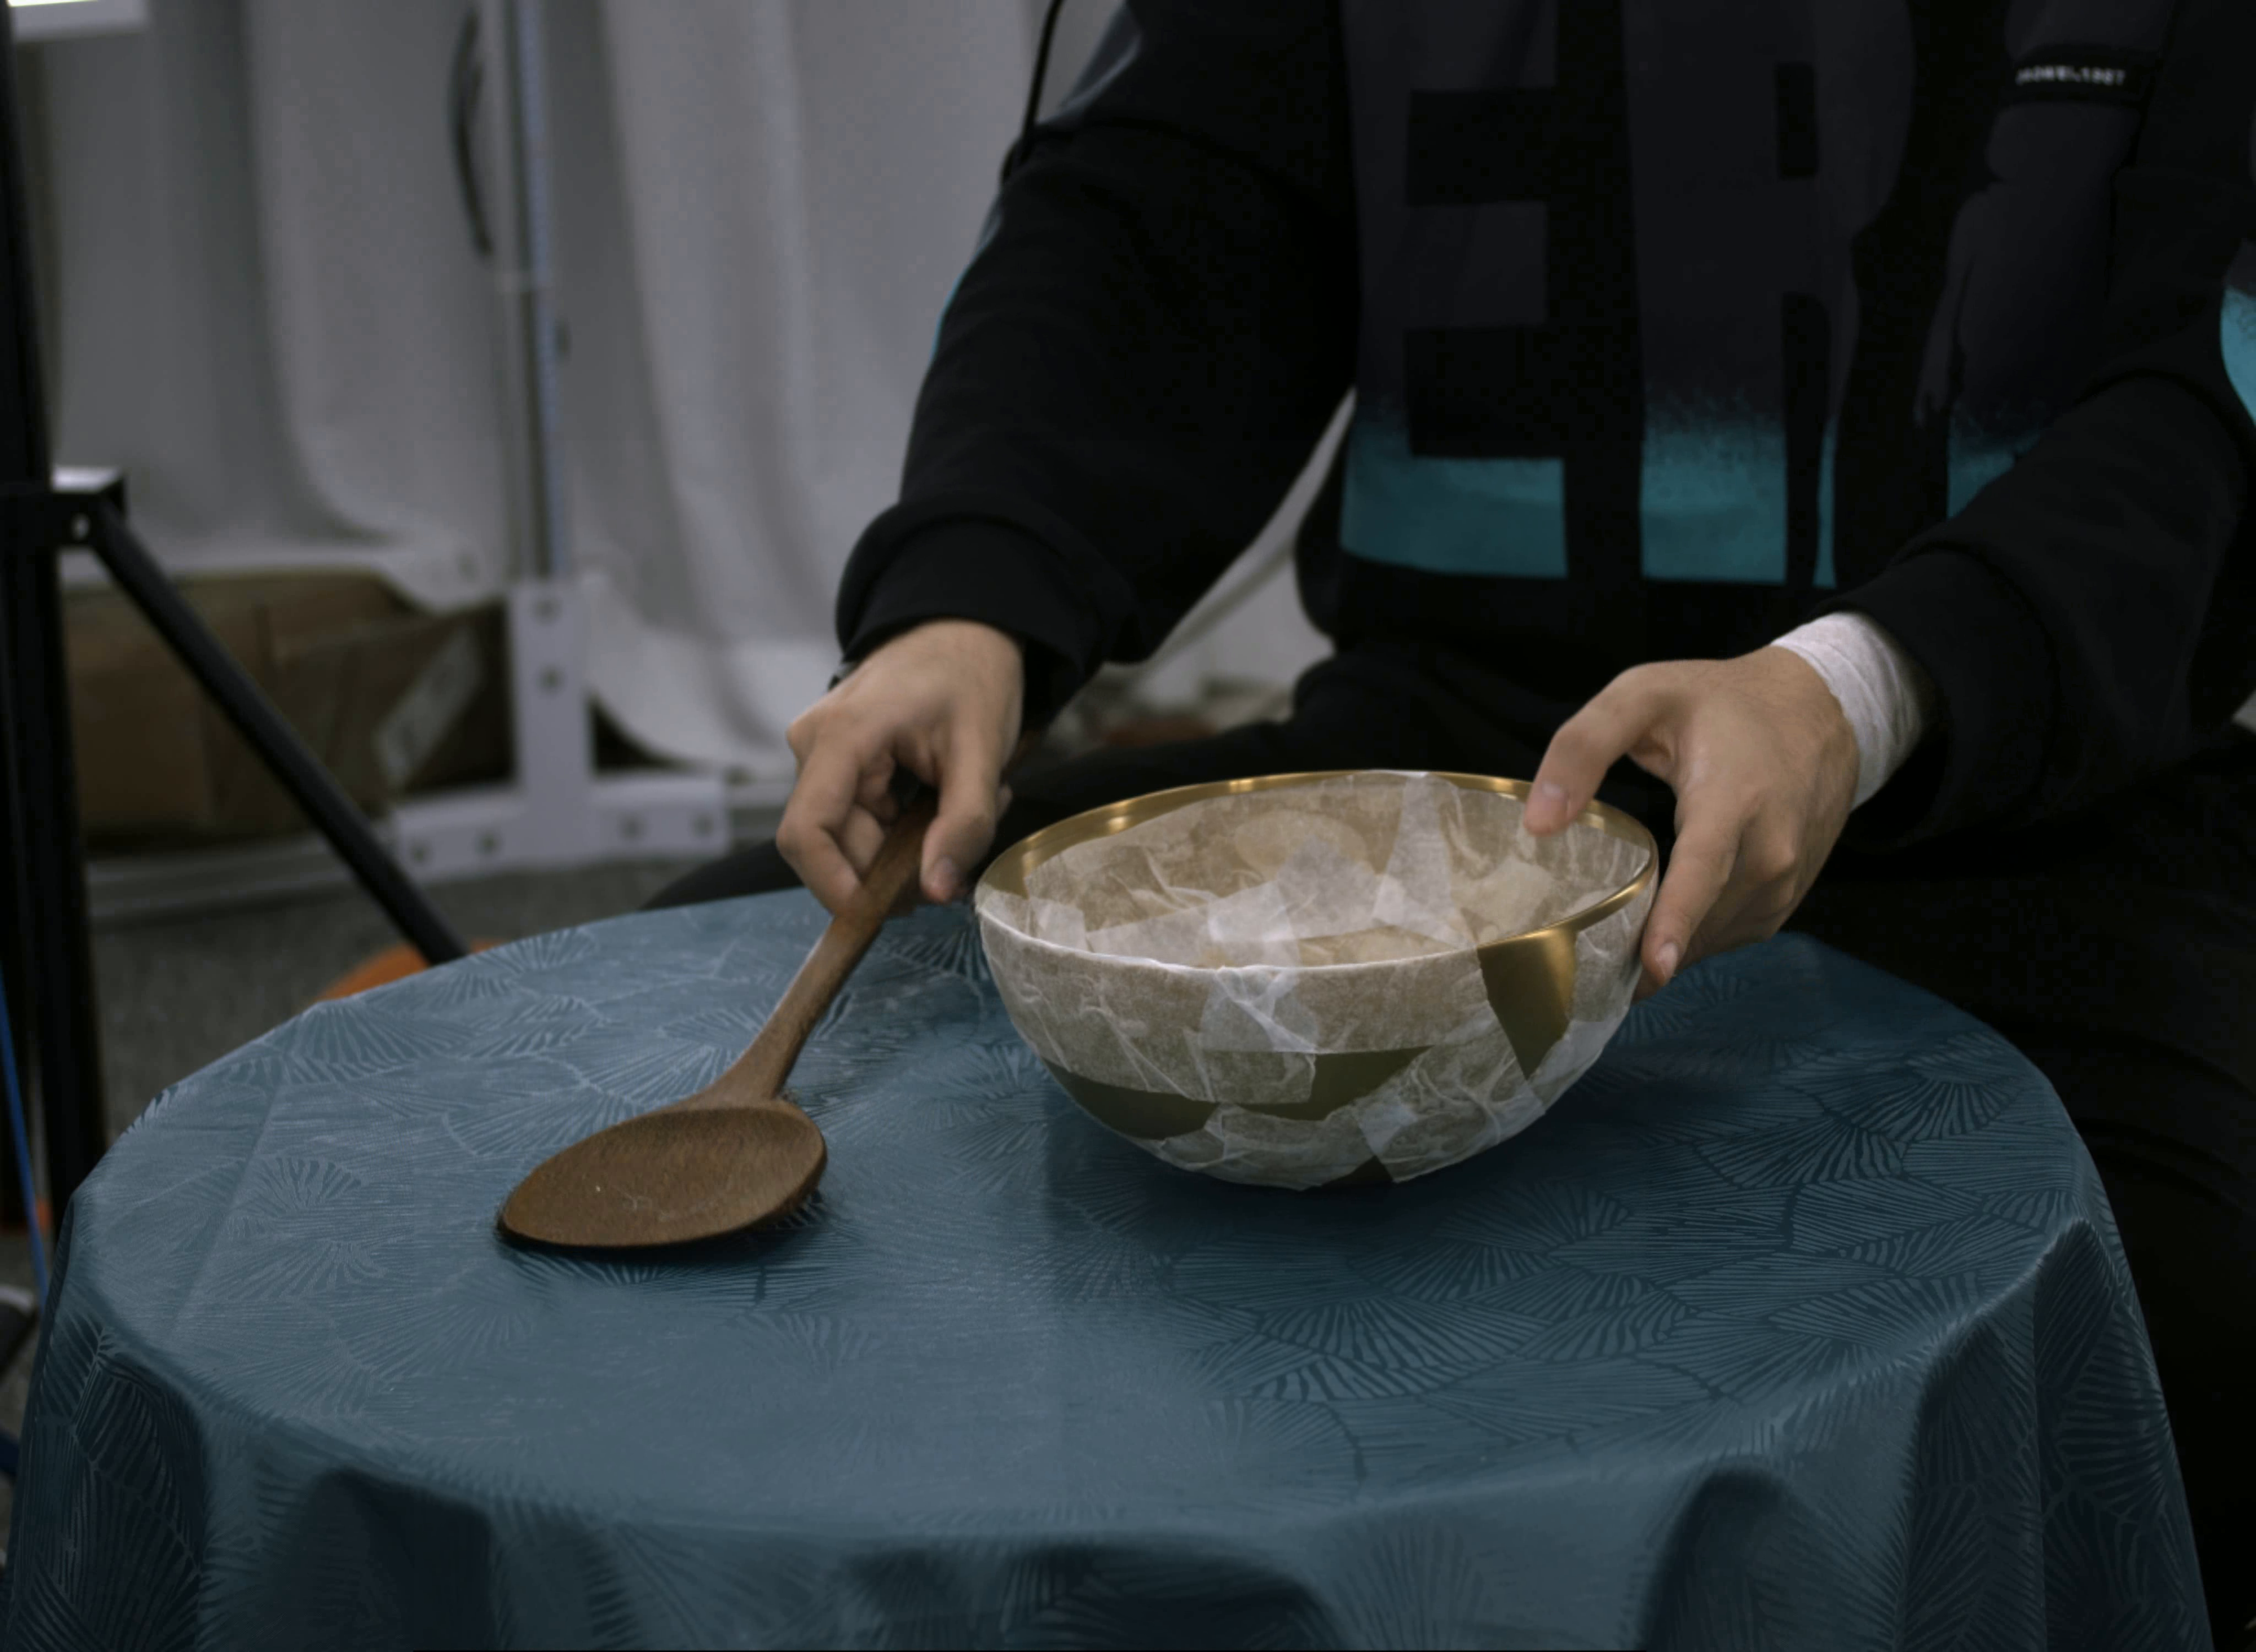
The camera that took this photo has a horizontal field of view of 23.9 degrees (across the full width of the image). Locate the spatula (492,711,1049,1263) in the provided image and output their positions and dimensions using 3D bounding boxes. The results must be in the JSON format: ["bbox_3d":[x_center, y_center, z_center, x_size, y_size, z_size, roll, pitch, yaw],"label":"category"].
[{"bbox_3d":[-0.091,0.042,1.684,0.097,0.016,0.383,-2,25,19],"label":"spatula"}]

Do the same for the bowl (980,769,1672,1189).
[{"bbox_3d":[0.062,0.053,1.570,0.214,0.094,0.216,-5,14,0],"label":"bowl"}]
